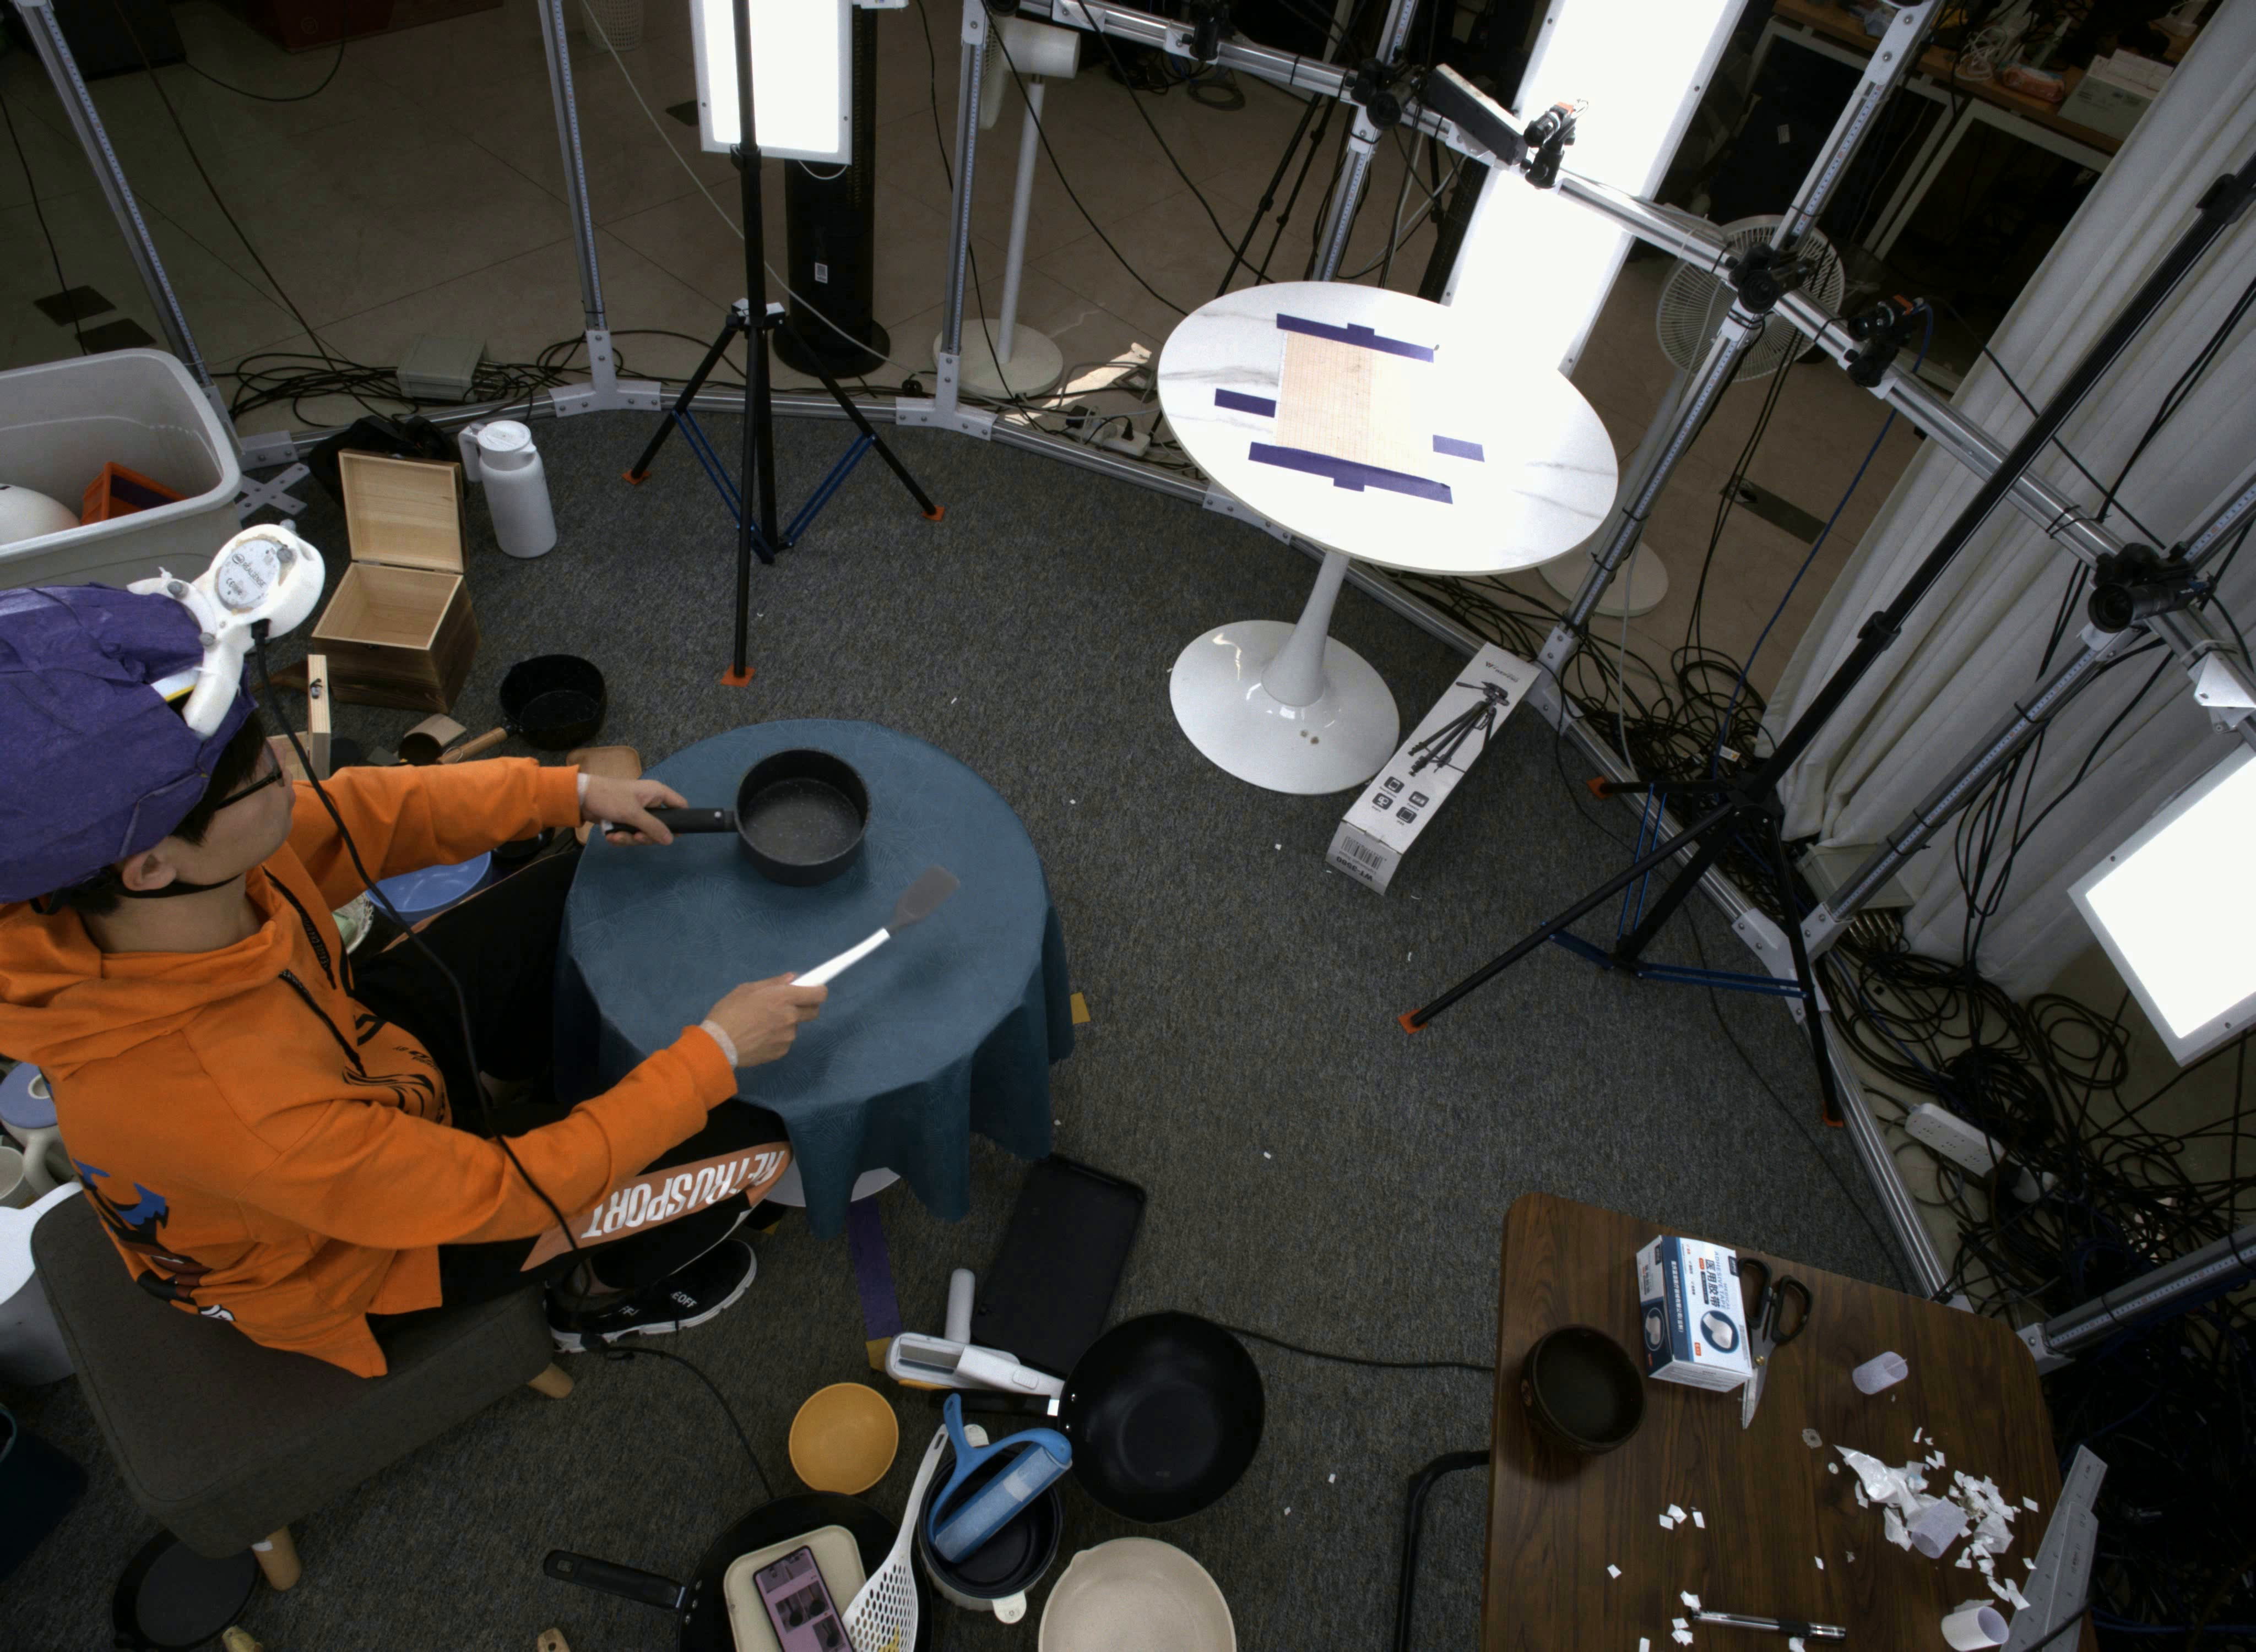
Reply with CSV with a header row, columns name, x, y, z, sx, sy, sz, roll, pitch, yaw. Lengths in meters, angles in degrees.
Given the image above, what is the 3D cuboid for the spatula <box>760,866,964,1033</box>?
name,x,y,z,sx,sy,sz,roll,pitch,yaw
spatula,-0.311,0.140,1.531,0.056,0.033,0.288,29,52,31

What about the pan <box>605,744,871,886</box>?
name,x,y,z,sx,sy,sz,roll,pitch,yaw
pan,-0.493,-0.009,1.633,0.331,0.087,0.169,-3,61,-21
